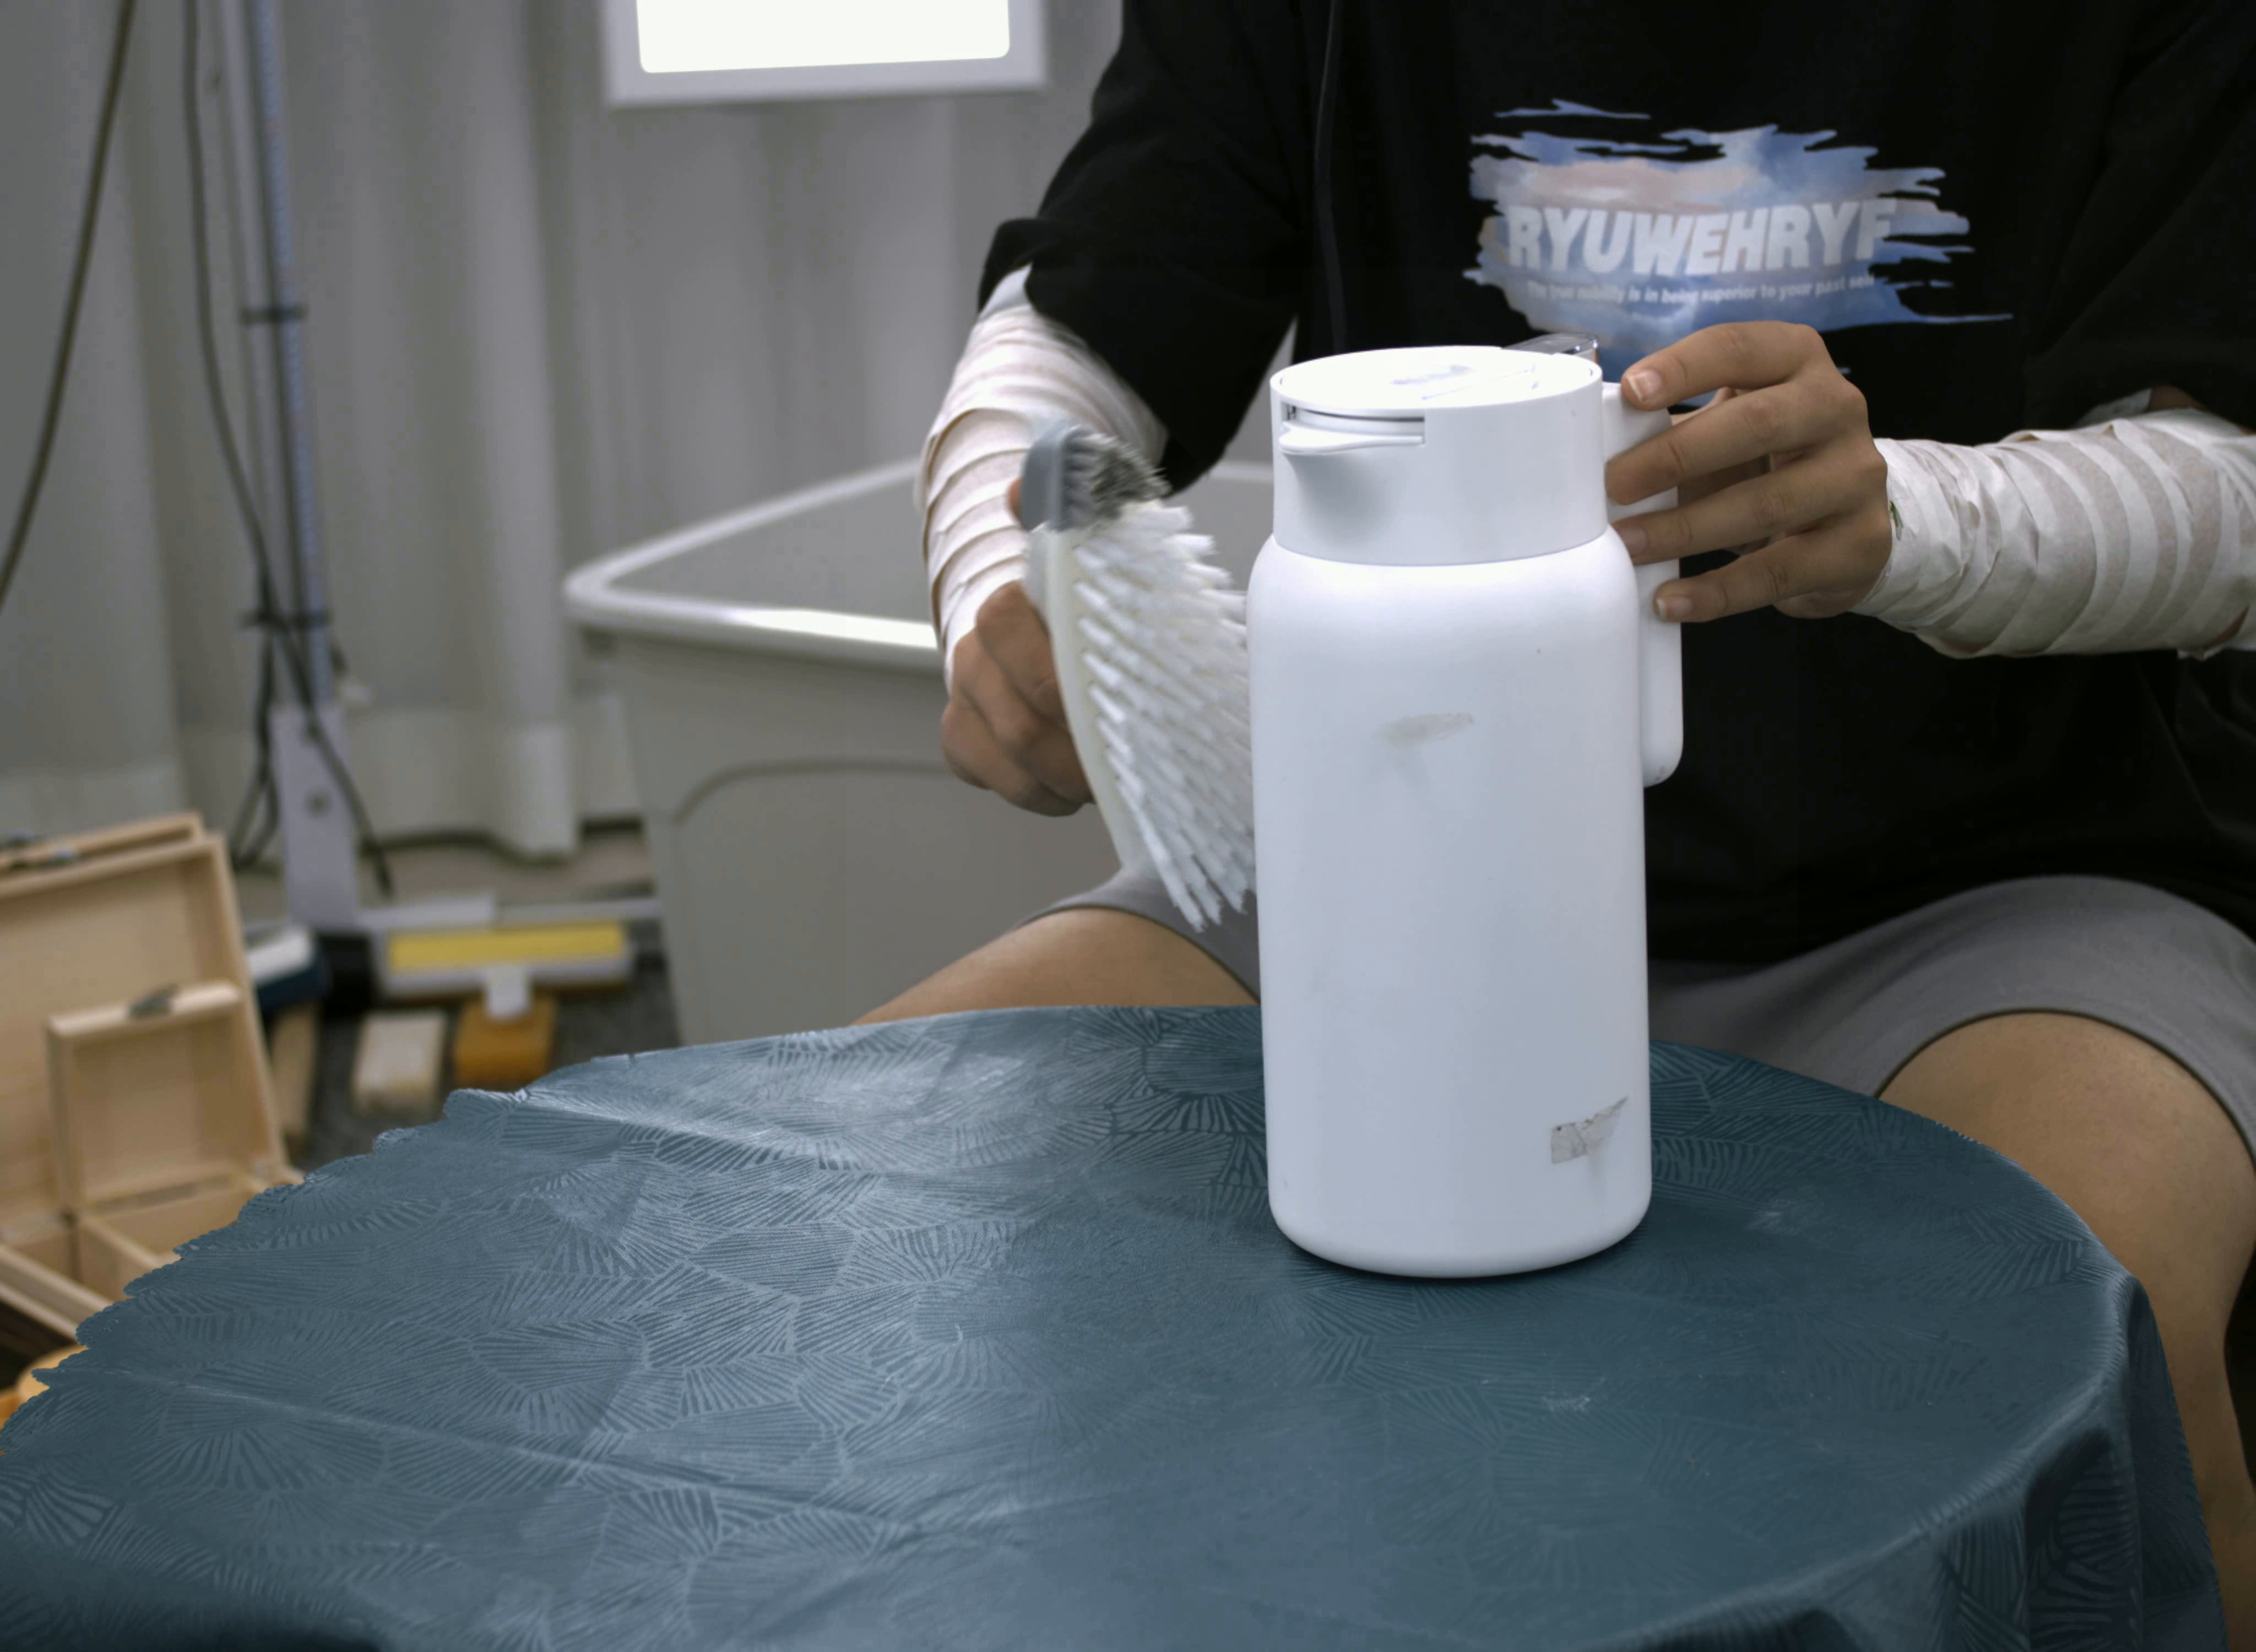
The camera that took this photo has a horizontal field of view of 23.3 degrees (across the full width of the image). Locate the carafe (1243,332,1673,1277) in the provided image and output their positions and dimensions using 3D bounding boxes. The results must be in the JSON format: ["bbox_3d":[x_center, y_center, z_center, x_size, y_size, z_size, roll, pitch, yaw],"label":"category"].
[{"bbox_3d":[0.105,-0.011,1.650,0.124,0.268,0.172,5,15,38],"label":"carafe"}]

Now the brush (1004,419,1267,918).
[{"bbox_3d":[-0.002,-0.062,1.707,0.061,0.173,0.095,-35,40,-19],"label":"brush"}]
